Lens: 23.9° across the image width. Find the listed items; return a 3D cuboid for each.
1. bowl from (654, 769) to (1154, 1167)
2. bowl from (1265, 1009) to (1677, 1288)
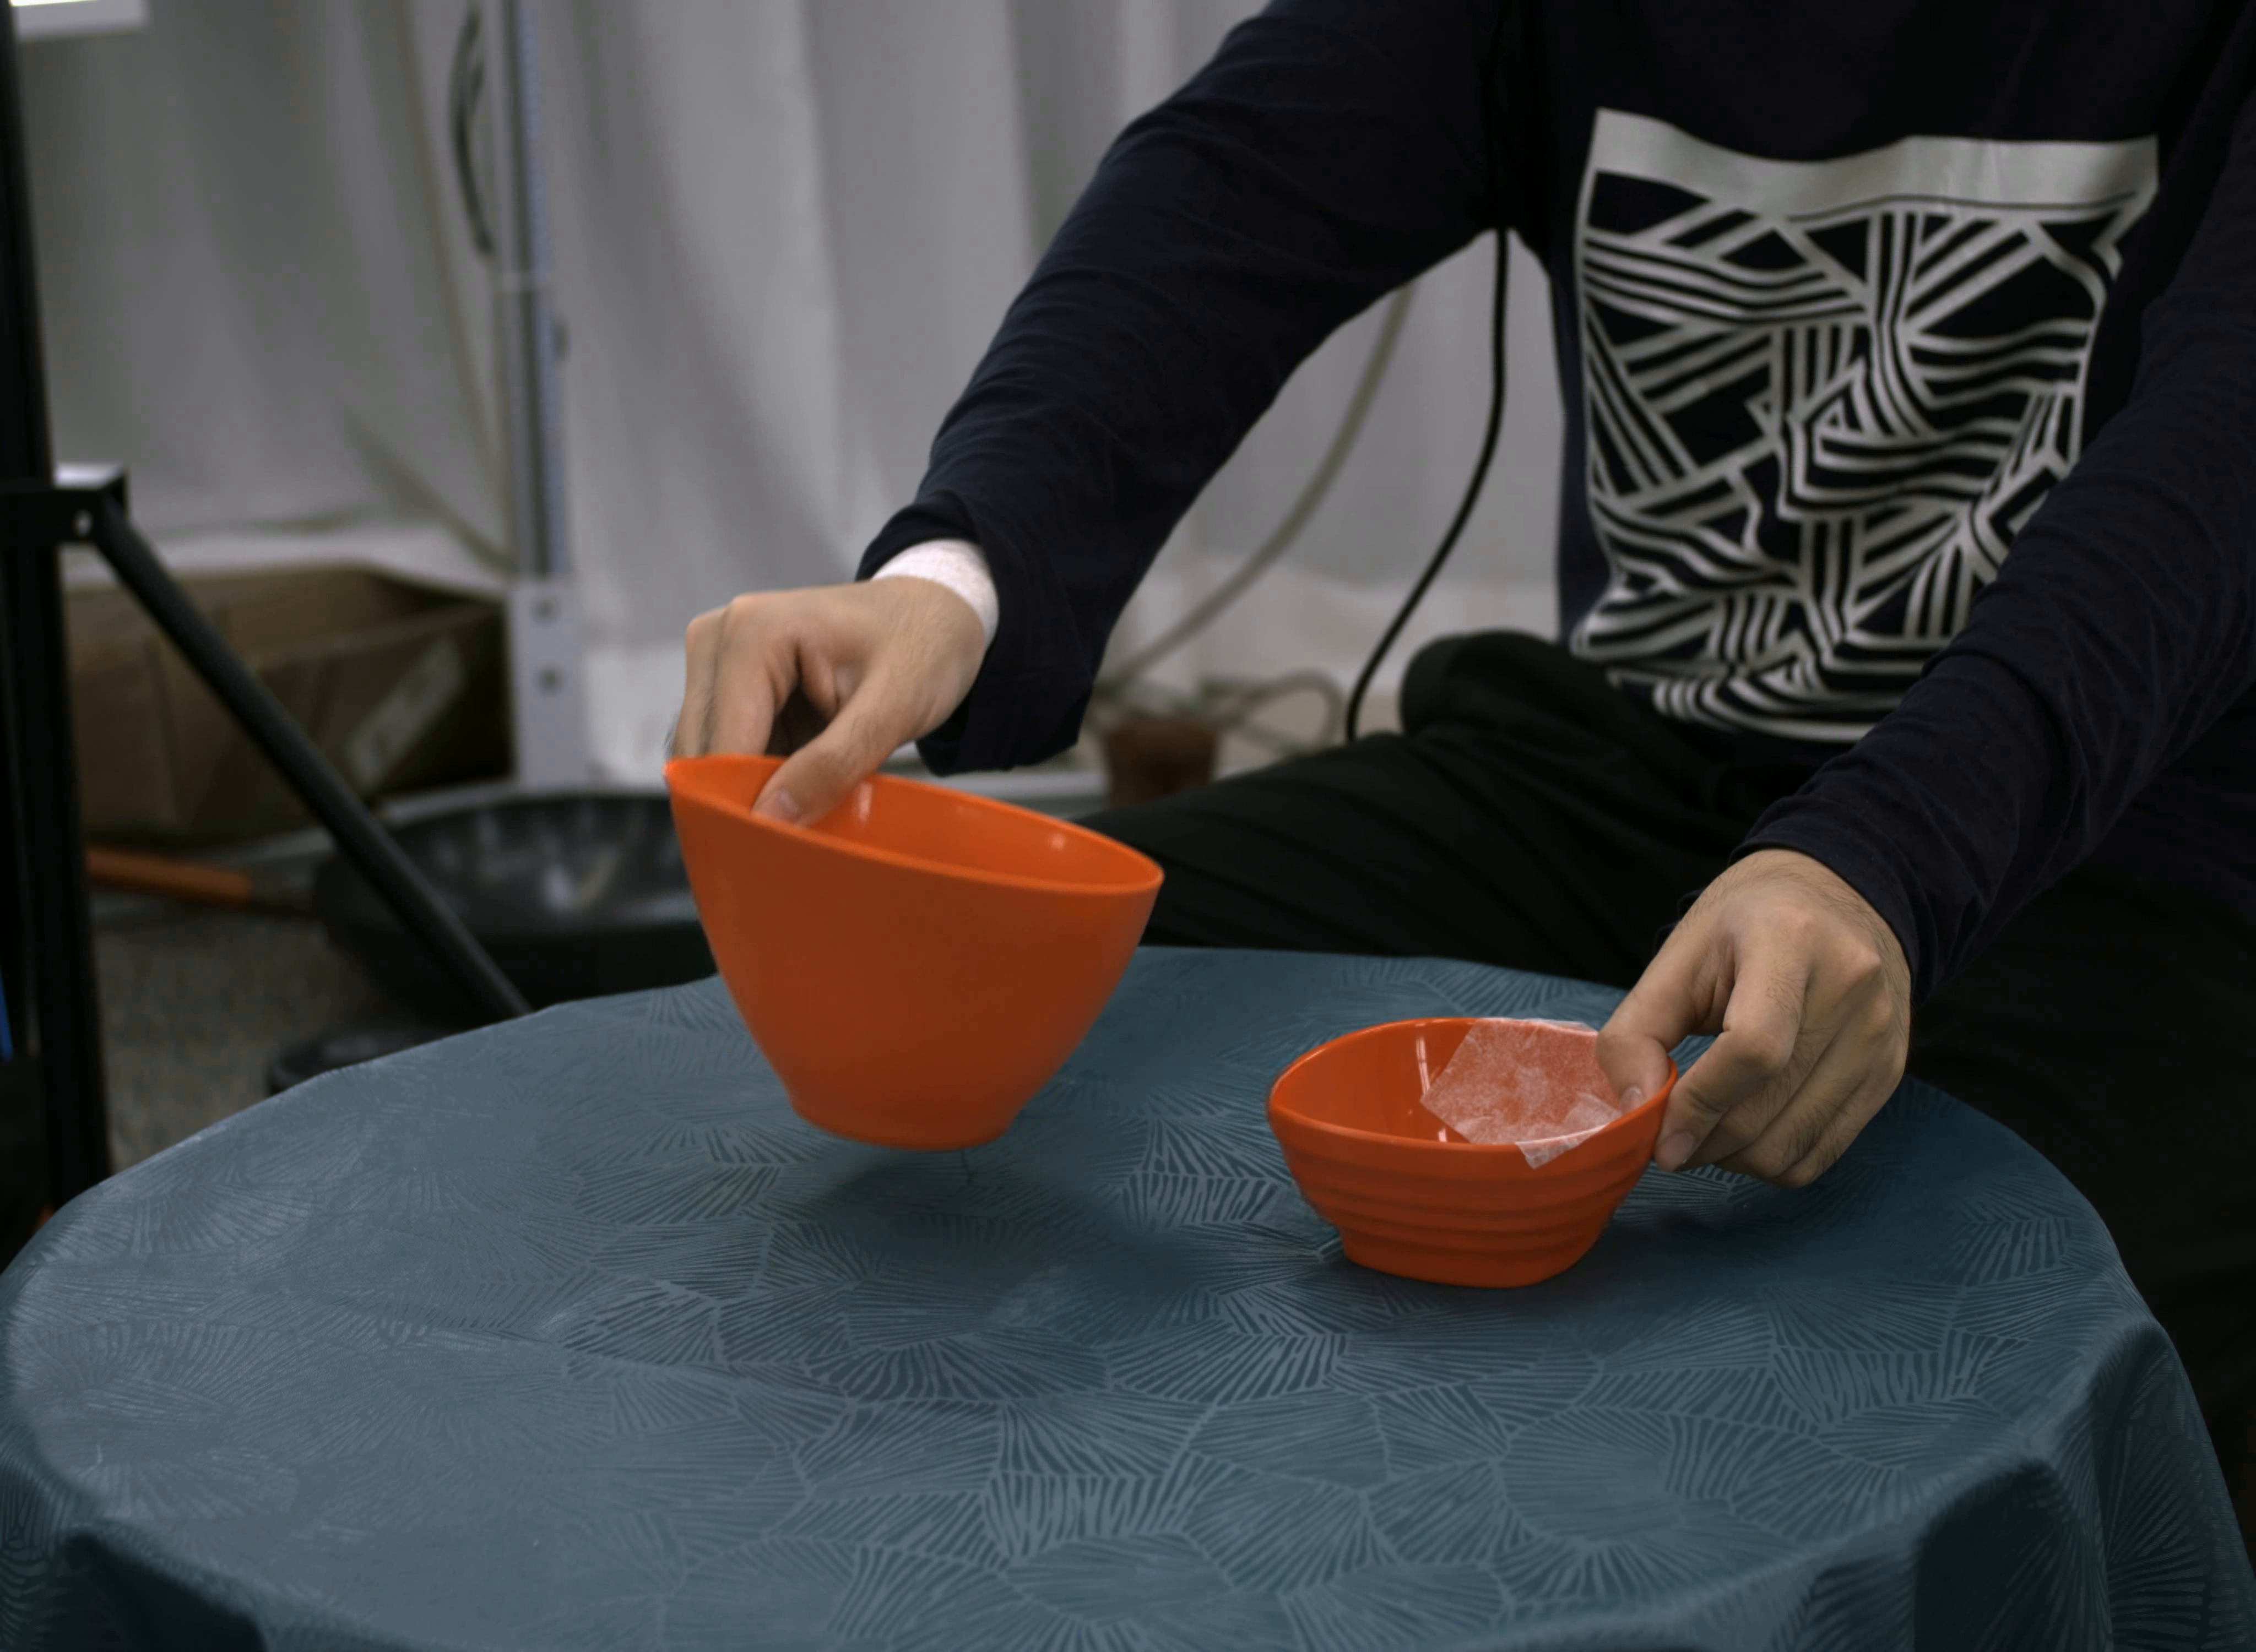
[{"bbox_3d":[-0.069,0.042,1.546,0.147,0.105,0.149,6,16,-3],"label":"bowl"},{"bbox_3d":[0.098,0.094,1.498,0.118,0.051,0.119,-4,16,0],"label":"bowl"}]
